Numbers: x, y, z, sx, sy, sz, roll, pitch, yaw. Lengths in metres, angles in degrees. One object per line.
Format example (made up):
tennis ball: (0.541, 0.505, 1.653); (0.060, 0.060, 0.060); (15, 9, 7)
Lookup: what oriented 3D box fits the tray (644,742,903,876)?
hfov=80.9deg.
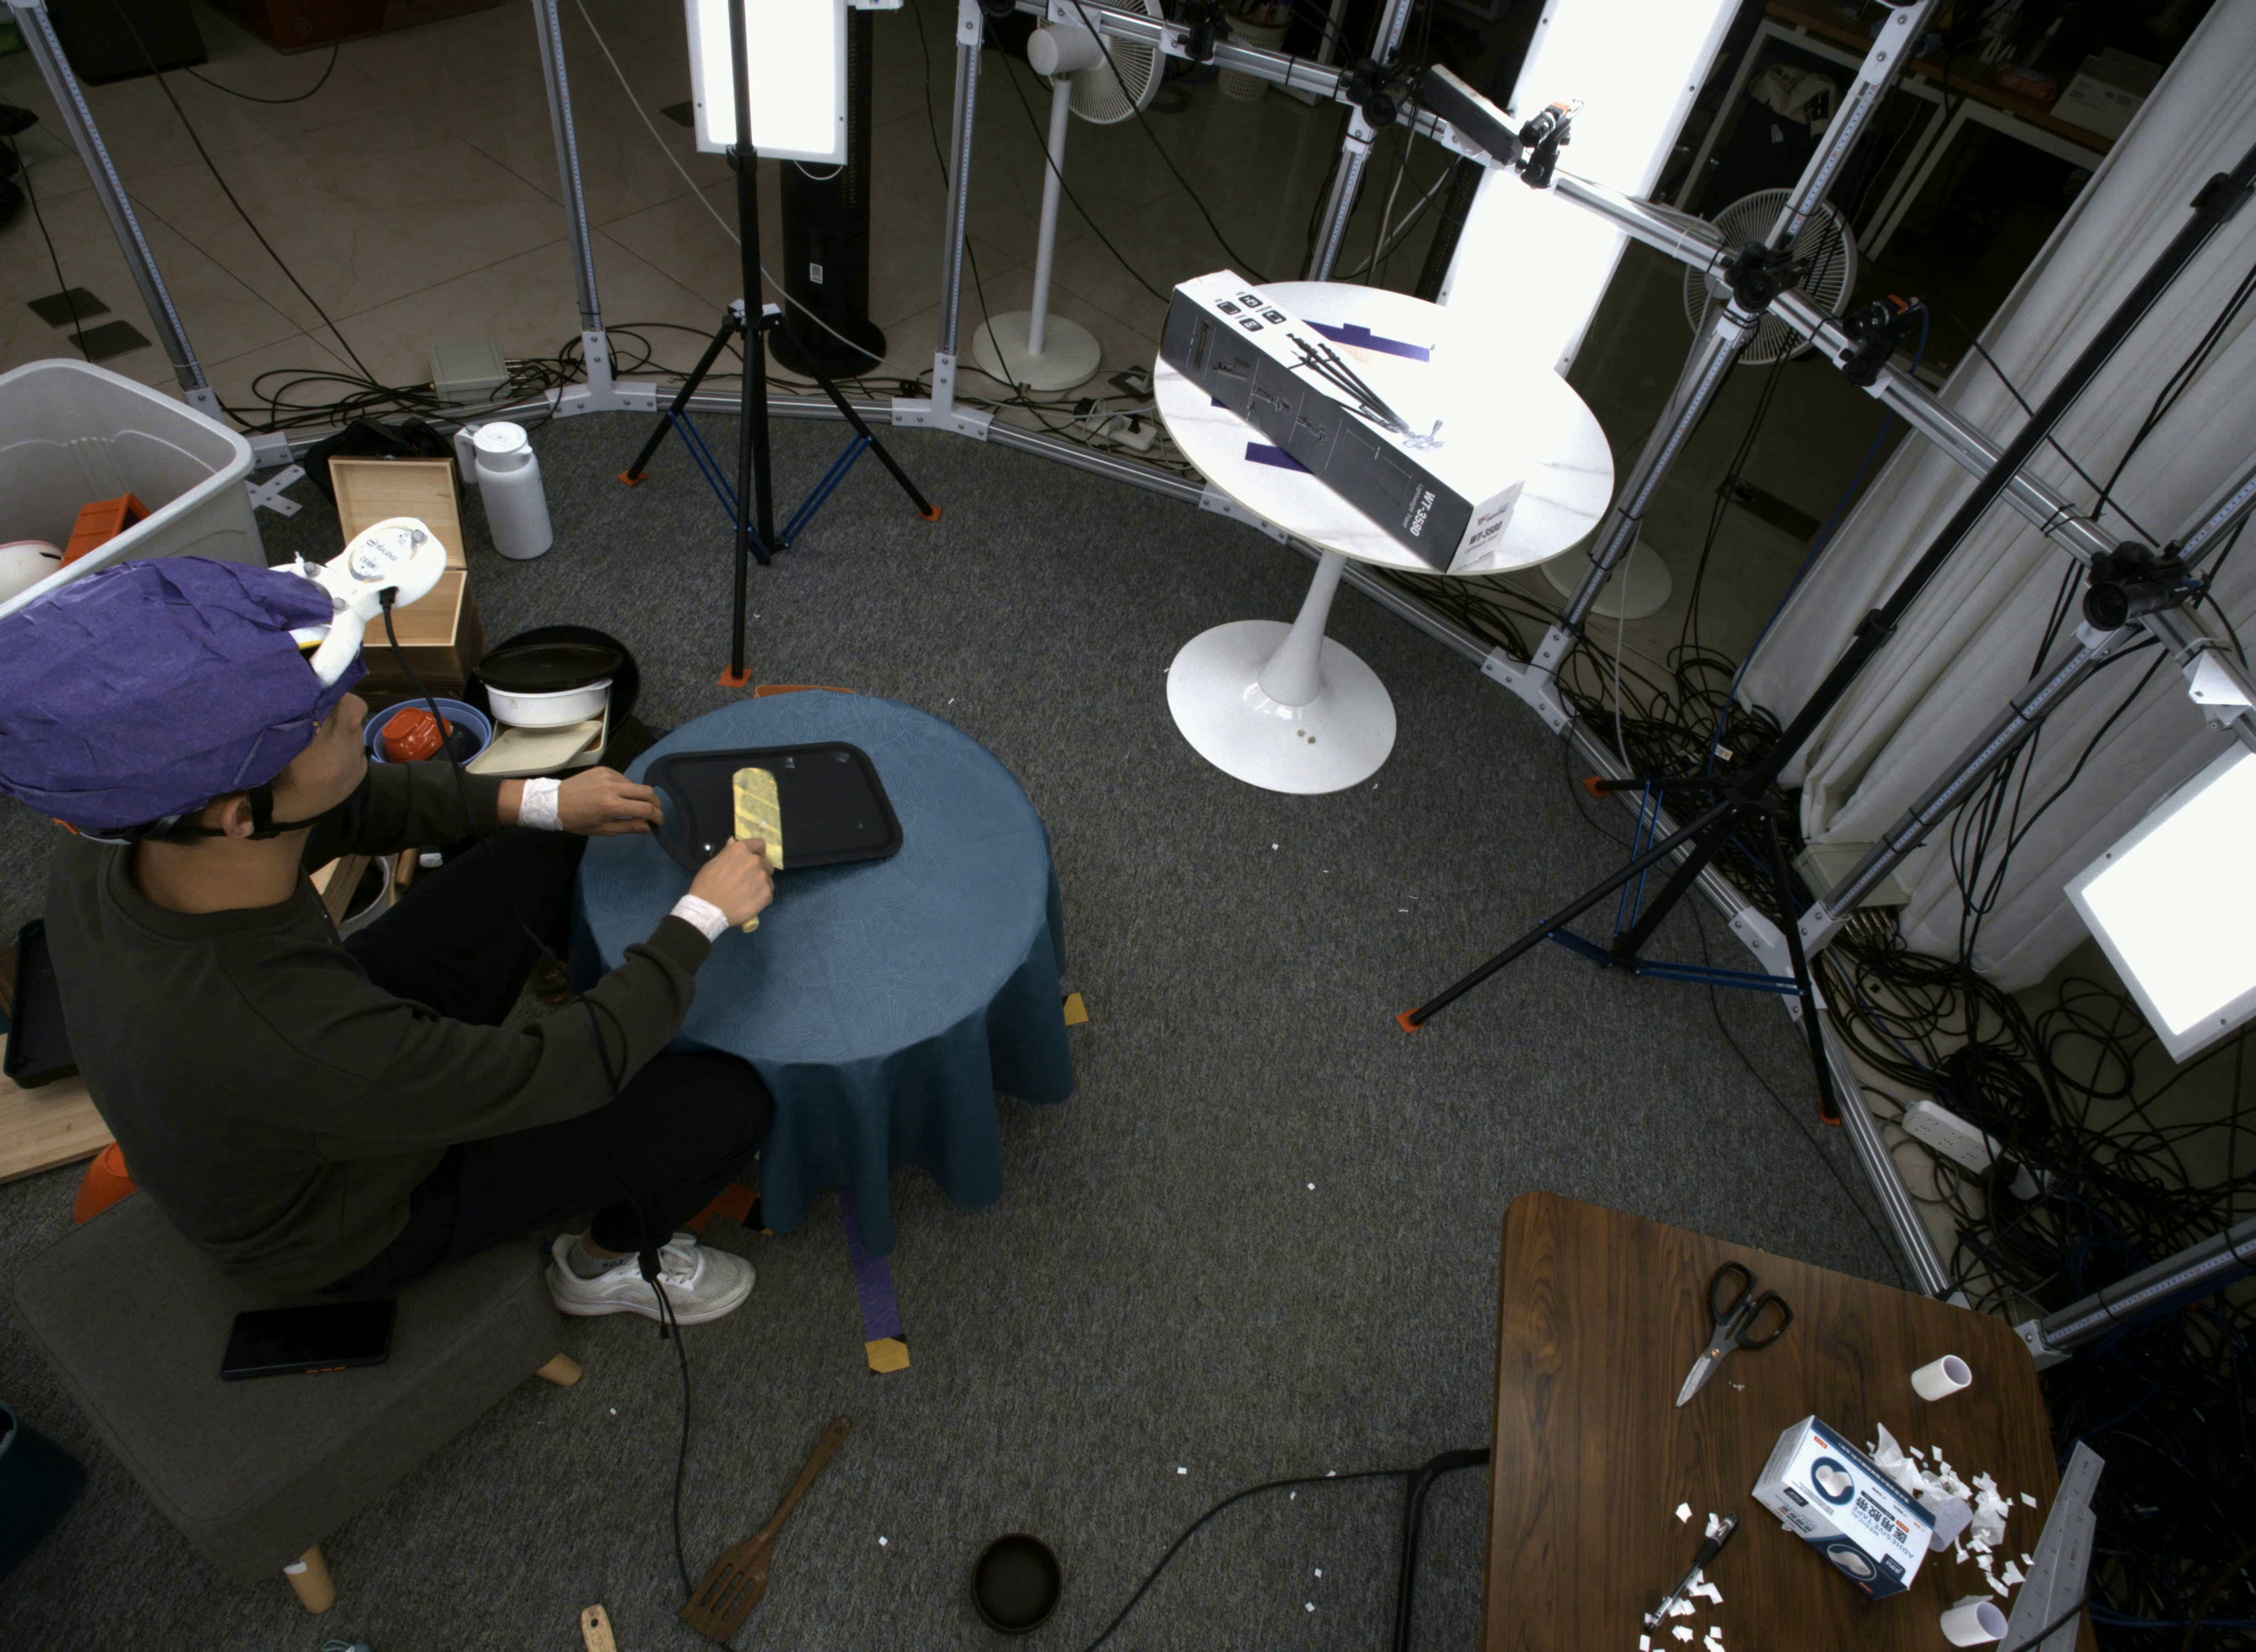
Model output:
tray: (-0.466, -0.029, 1.695); (0.330, 0.010, 0.206); (-7, 54, -35)

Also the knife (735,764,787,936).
knife: (-0.462, 0.024, 1.622); (0.084, 0.027, 0.282); (33, 33, -39)
